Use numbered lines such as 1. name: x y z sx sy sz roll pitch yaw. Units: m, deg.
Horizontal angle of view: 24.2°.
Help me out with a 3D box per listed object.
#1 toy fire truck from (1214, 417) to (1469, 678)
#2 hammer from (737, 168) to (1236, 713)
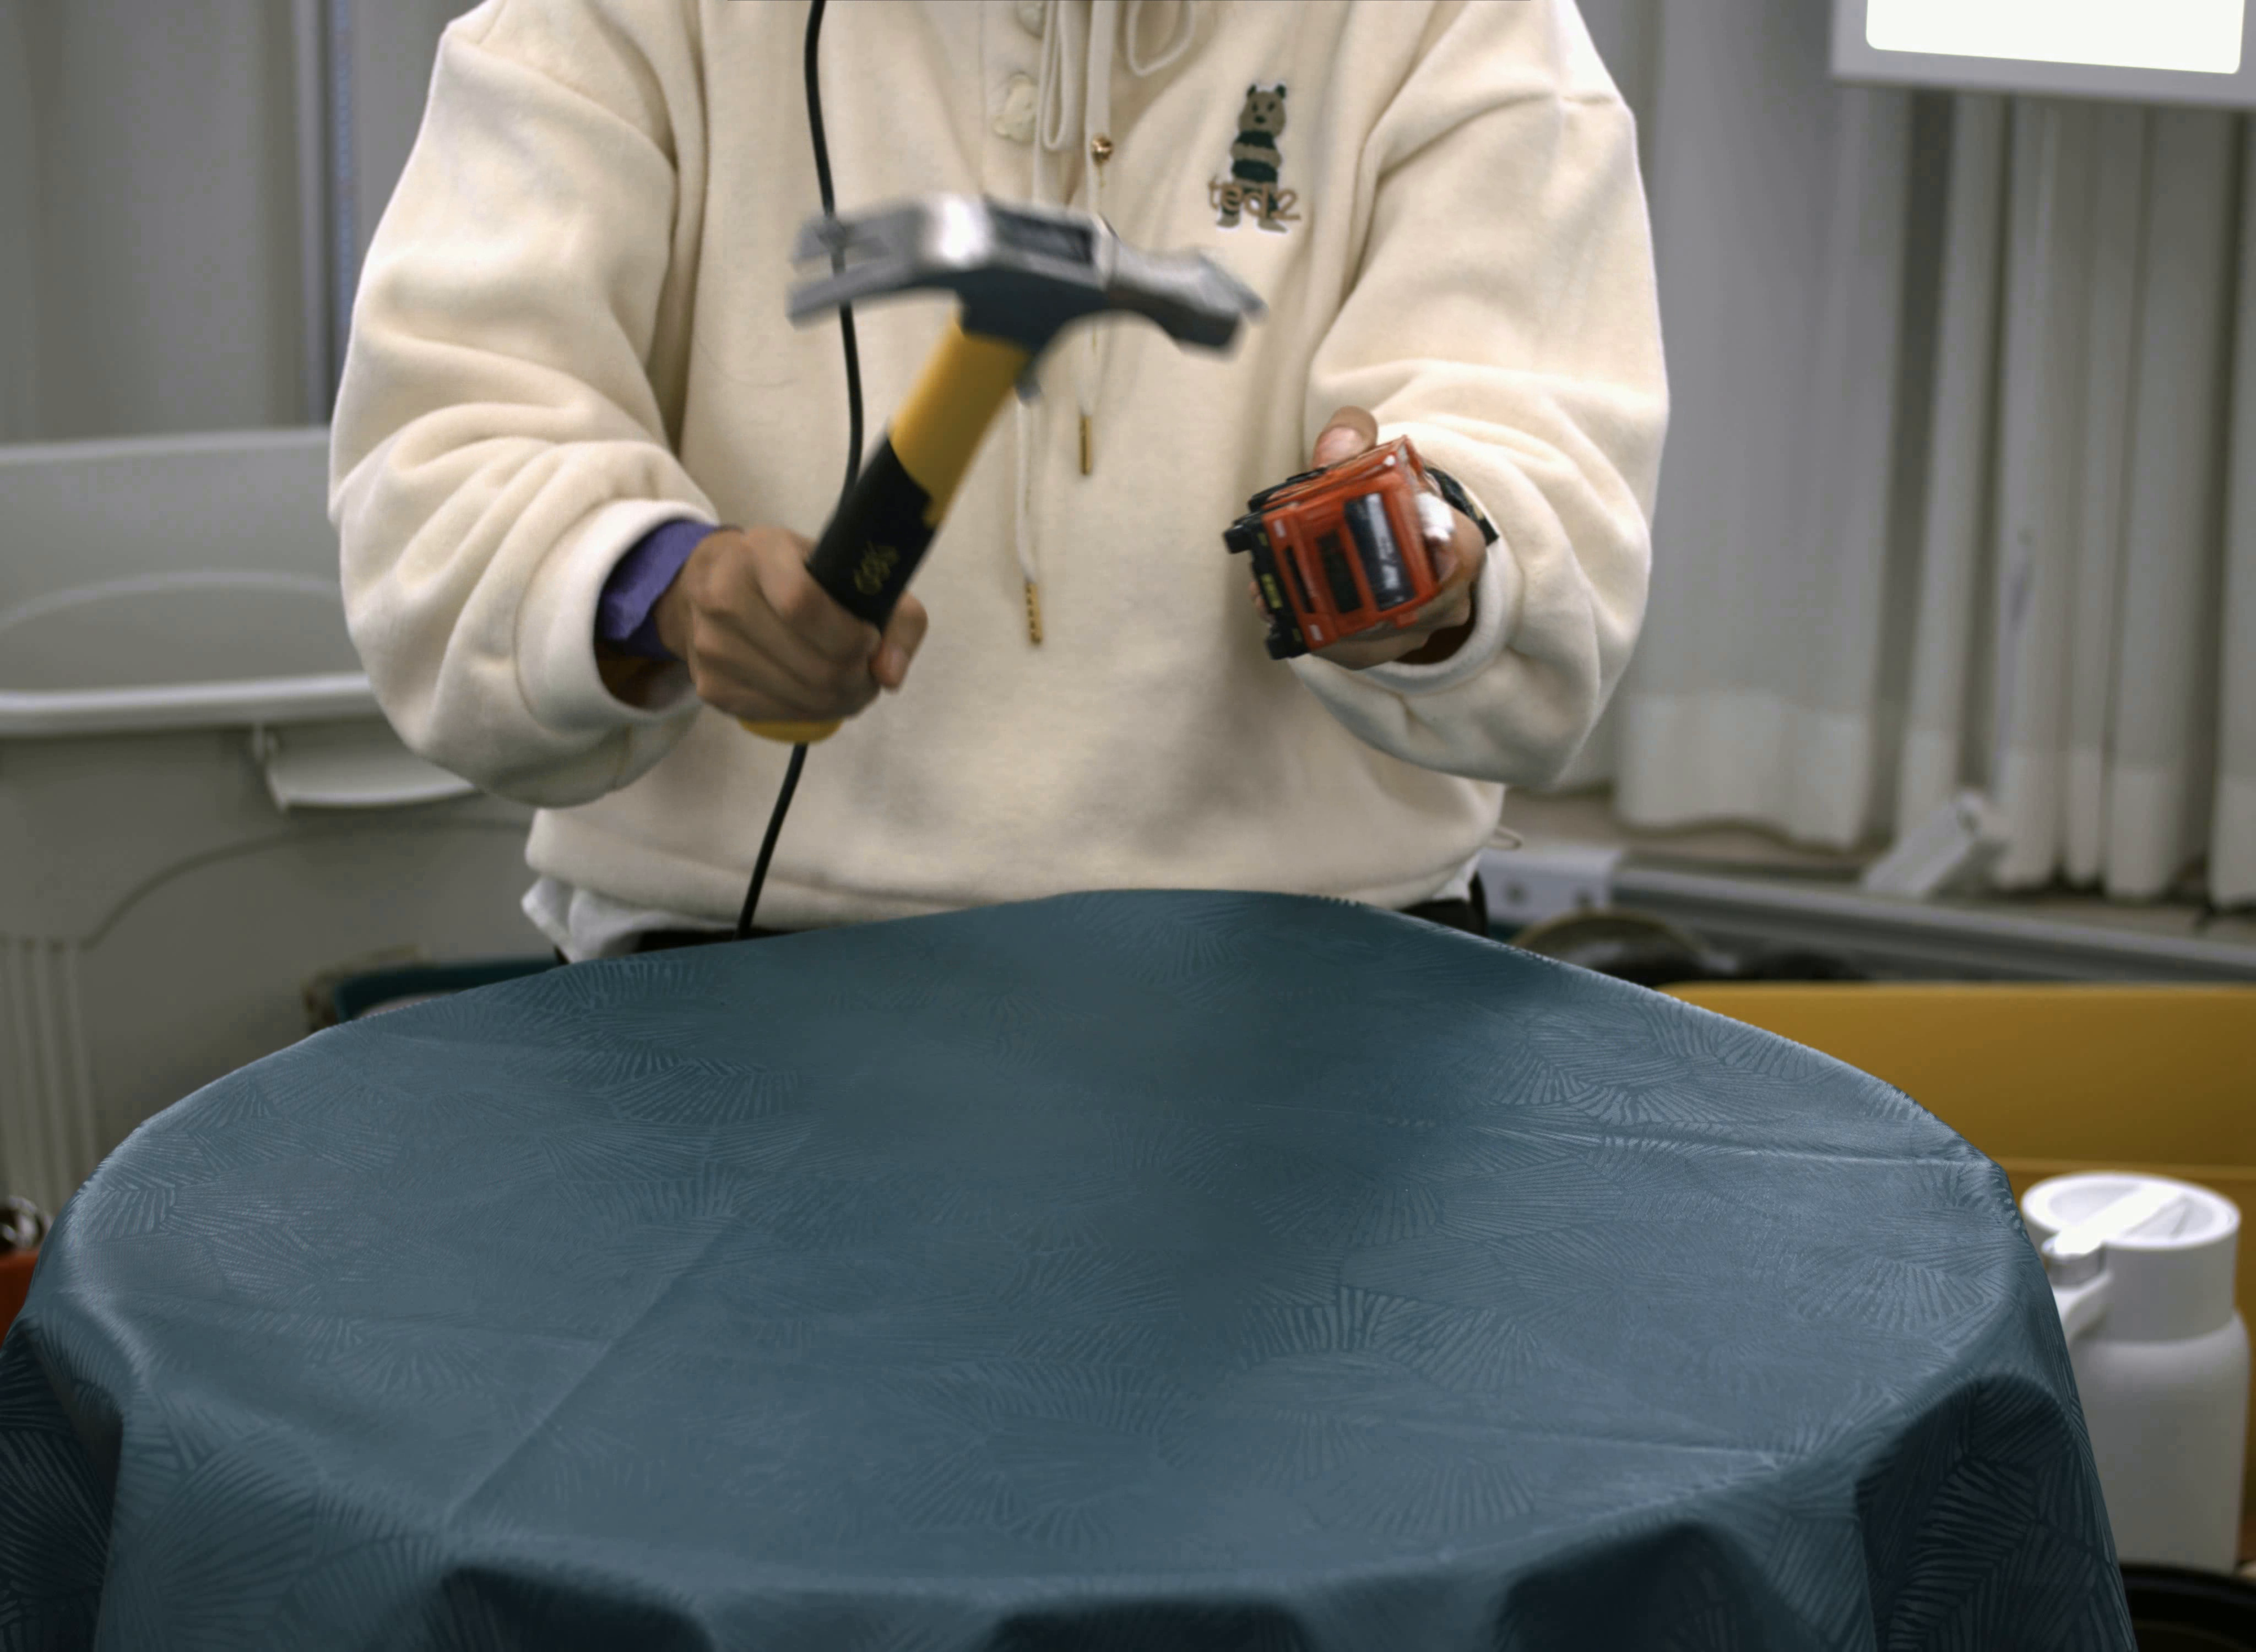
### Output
1. toy fire truck: 0.070 -0.087 1.611 0.070 0.054 0.167 -19 6 7
2. hammer: -0.074 -0.119 1.712 0.131 0.032 0.339 10 -26 -13
